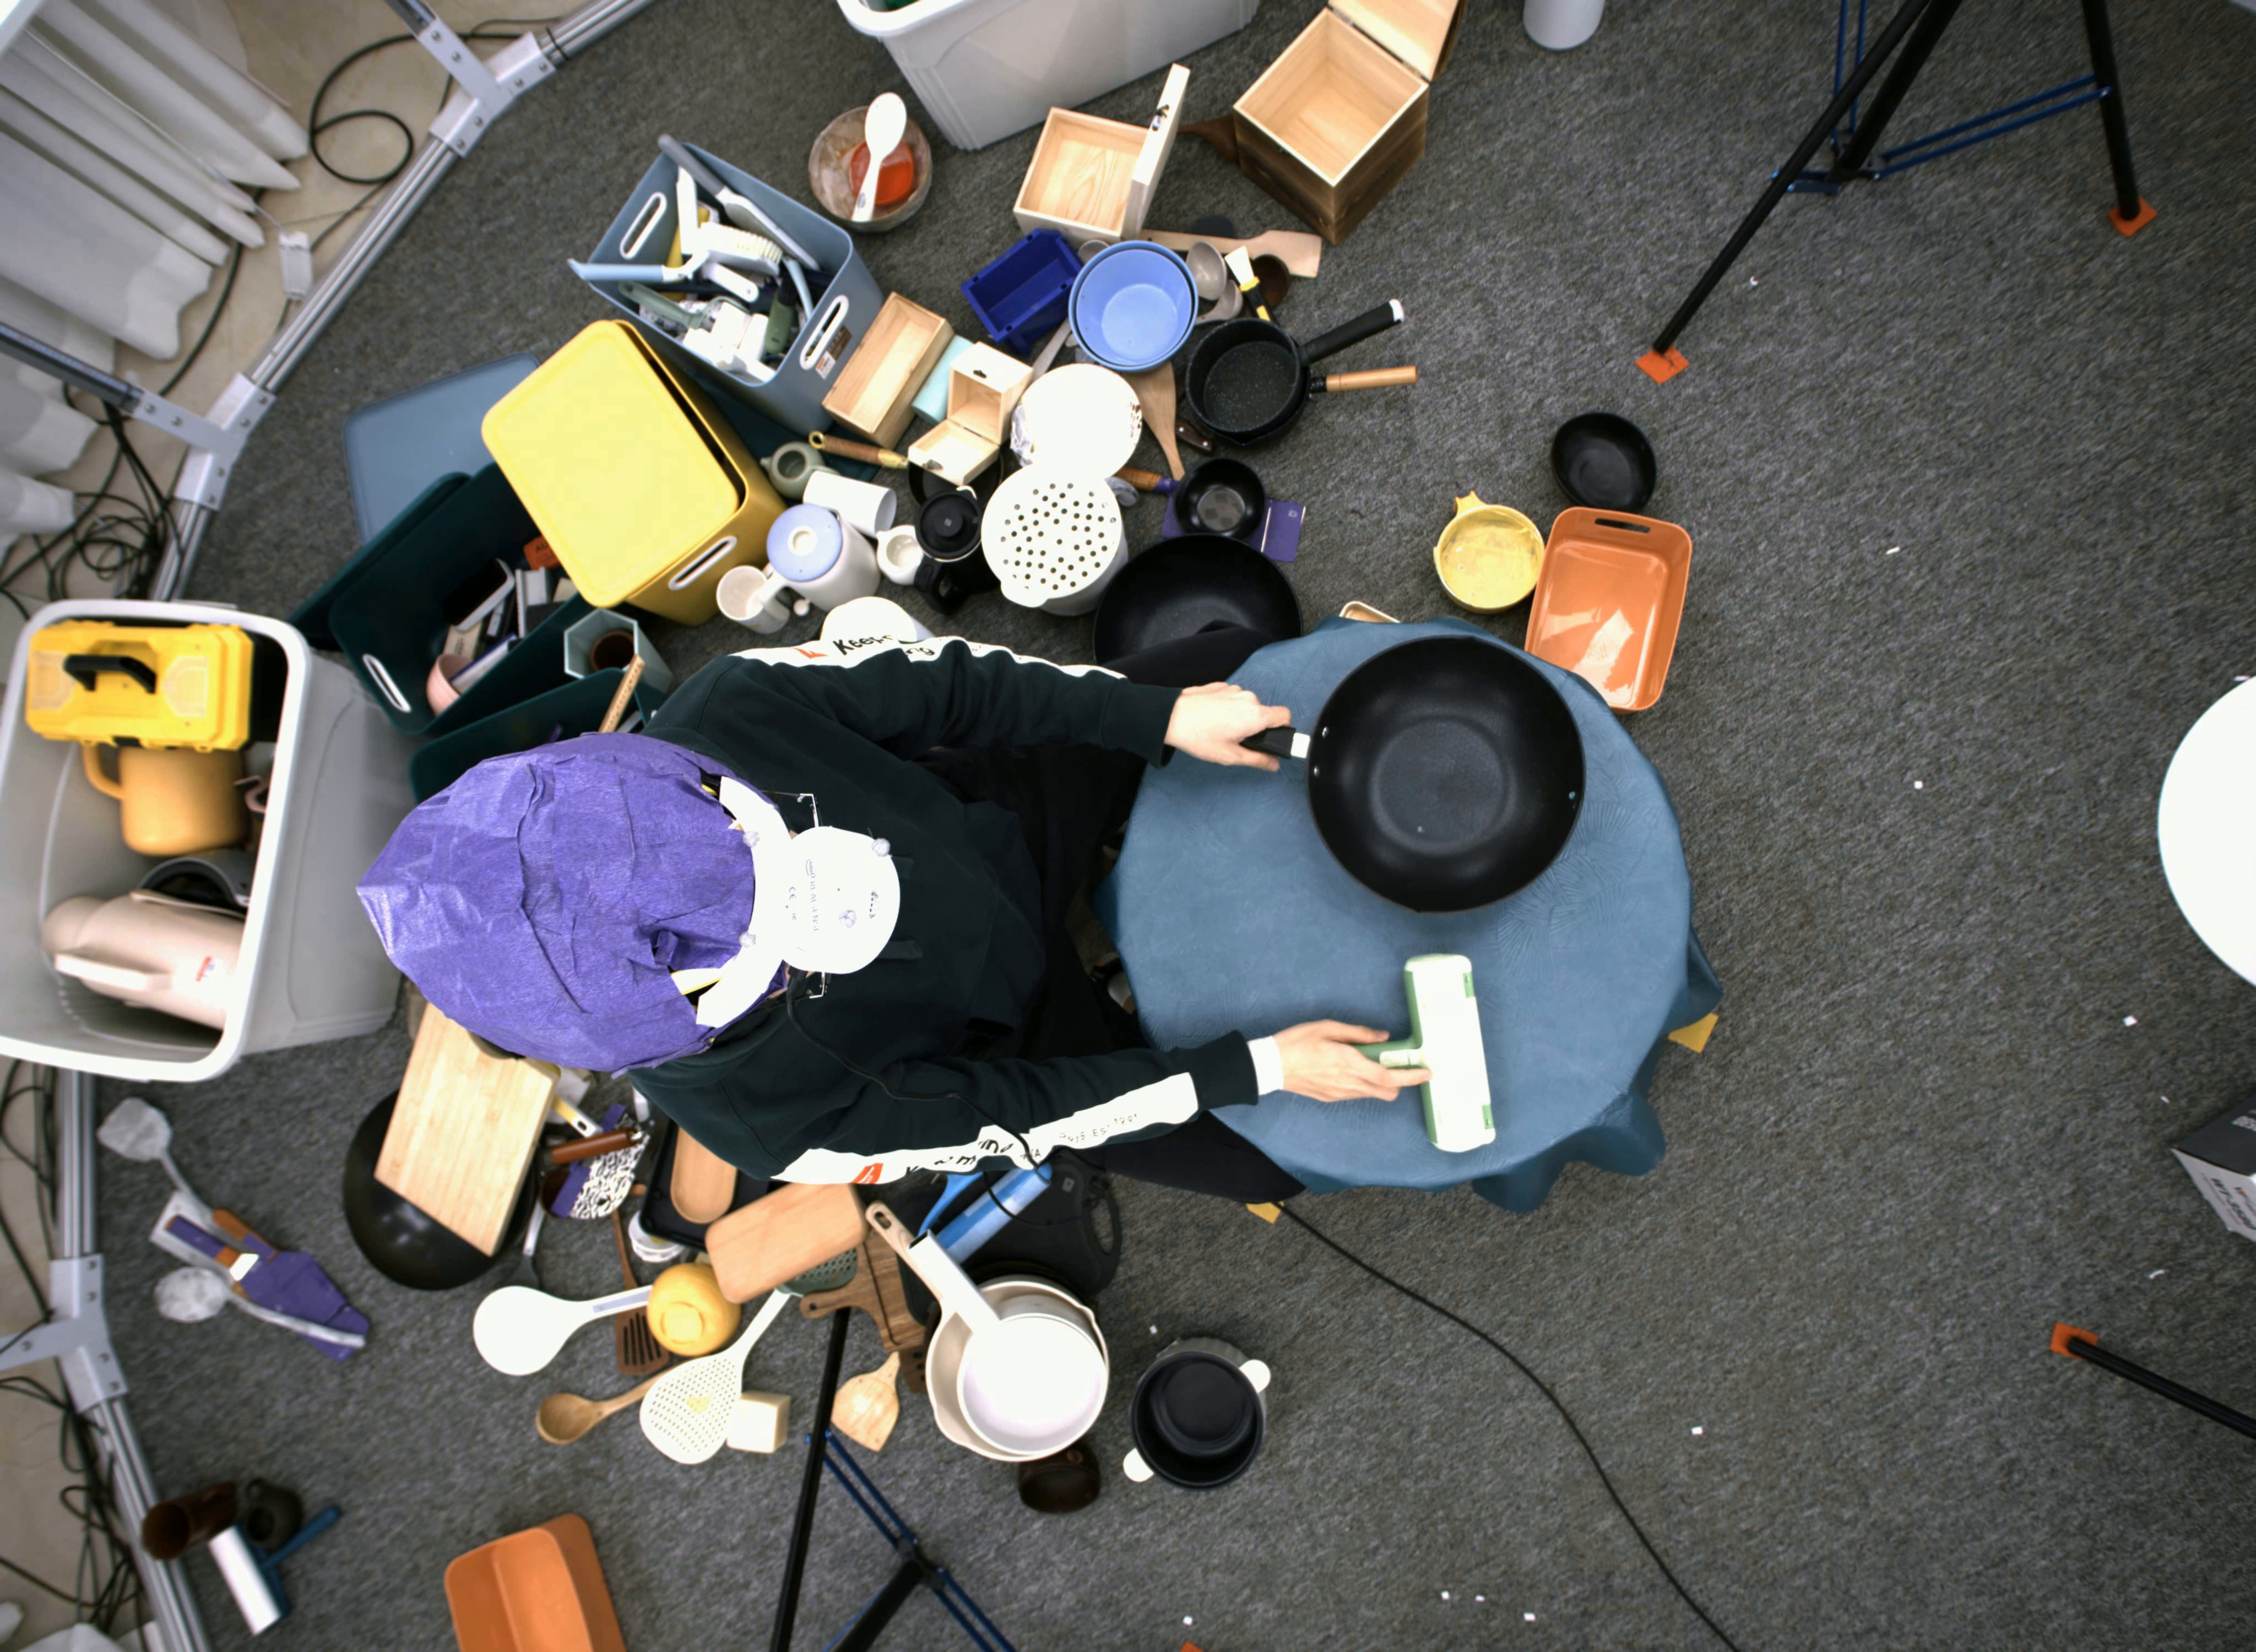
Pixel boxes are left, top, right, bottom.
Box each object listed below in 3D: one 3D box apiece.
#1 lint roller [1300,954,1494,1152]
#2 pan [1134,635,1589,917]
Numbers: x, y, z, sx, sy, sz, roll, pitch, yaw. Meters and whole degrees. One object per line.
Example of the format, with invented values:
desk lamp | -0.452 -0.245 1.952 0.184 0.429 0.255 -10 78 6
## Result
lint roller | 0.266 0.235 1.395 0.184 0.081 0.199 -8 96 8
pan | 0.235 -0.068 1.427 0.464 0.087 0.287 12 89 12
